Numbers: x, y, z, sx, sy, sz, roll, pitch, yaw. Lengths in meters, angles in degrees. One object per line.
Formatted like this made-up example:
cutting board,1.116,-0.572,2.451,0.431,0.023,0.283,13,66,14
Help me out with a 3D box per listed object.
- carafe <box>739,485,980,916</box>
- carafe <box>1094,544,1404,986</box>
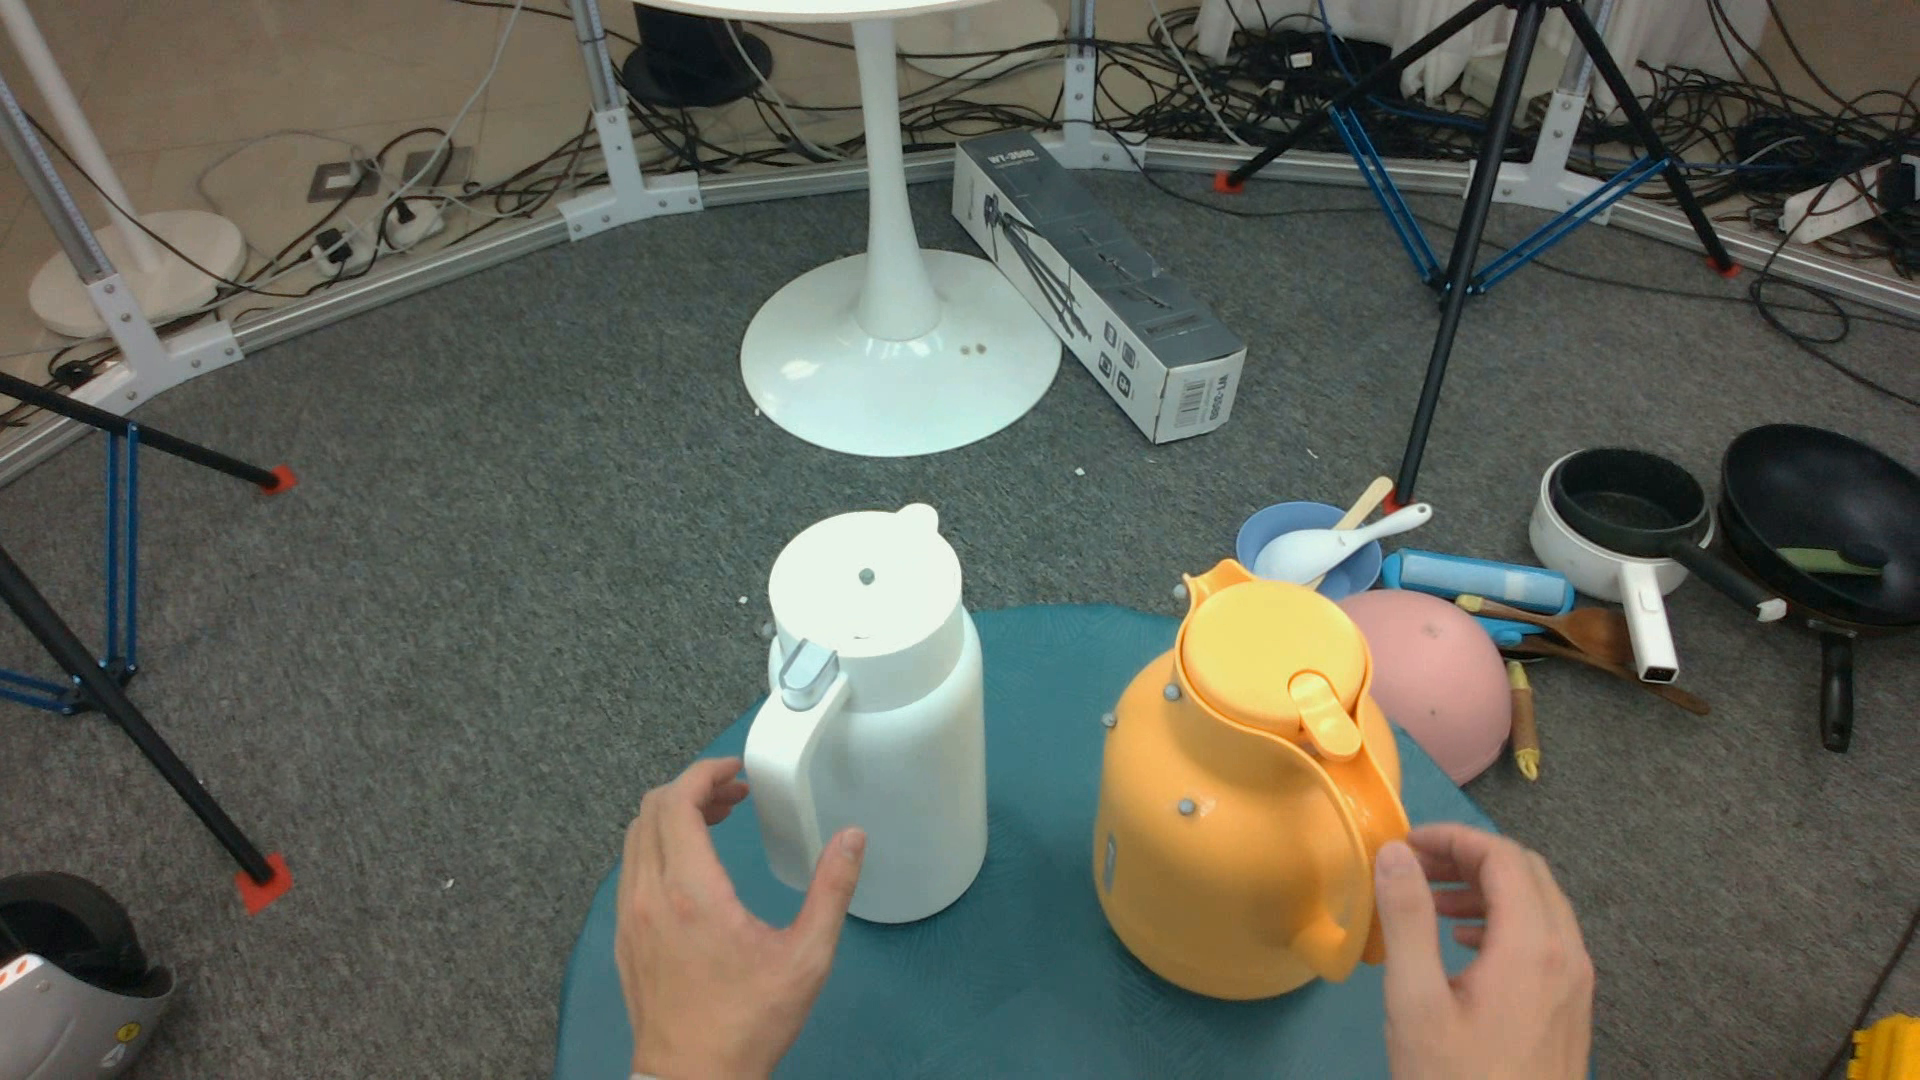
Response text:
carafe,-0.055,0.116,0.782,0.124,0.267,0.174,19,51,16
carafe,0.163,0.141,0.757,0.164,0.259,0.203,-18,48,-10
